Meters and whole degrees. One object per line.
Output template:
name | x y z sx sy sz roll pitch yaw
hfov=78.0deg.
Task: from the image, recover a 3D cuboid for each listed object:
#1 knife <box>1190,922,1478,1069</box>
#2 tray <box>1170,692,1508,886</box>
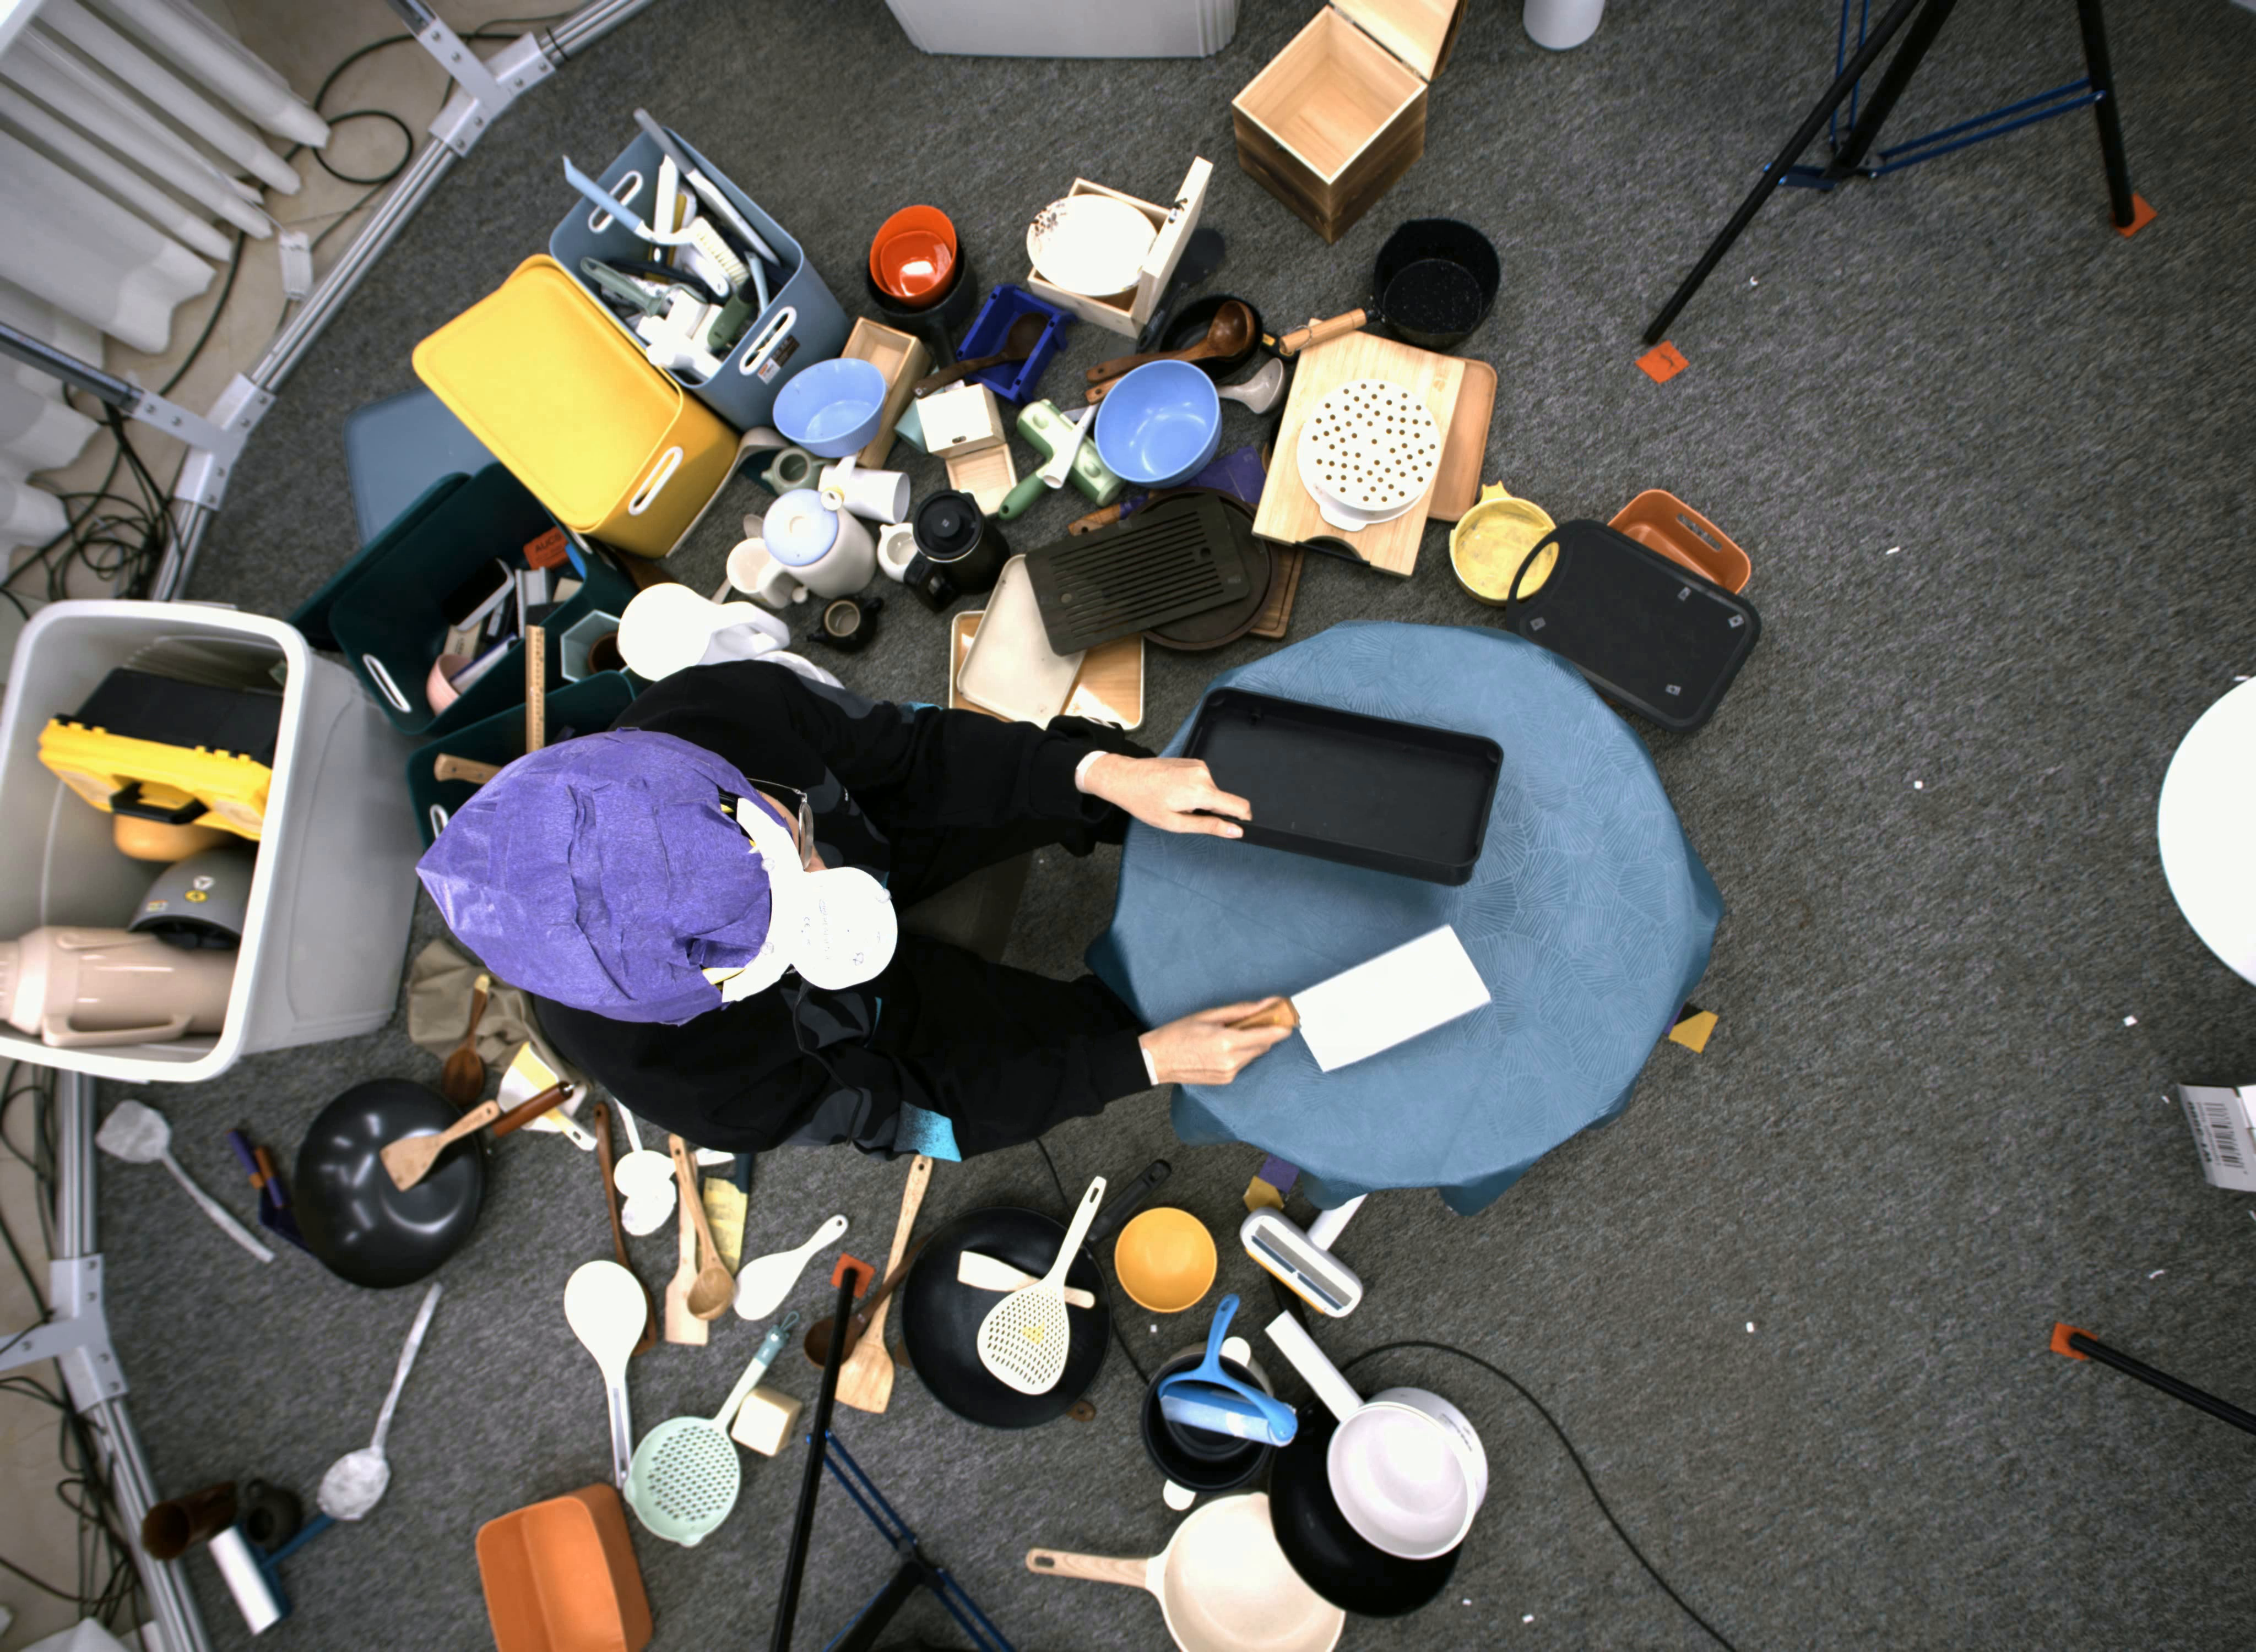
knife | 0.209 0.194 1.411 0.310 0.020 0.093 -29 103 23
tray | 0.215 -0.043 1.401 0.318 0.038 0.179 10 52 14
